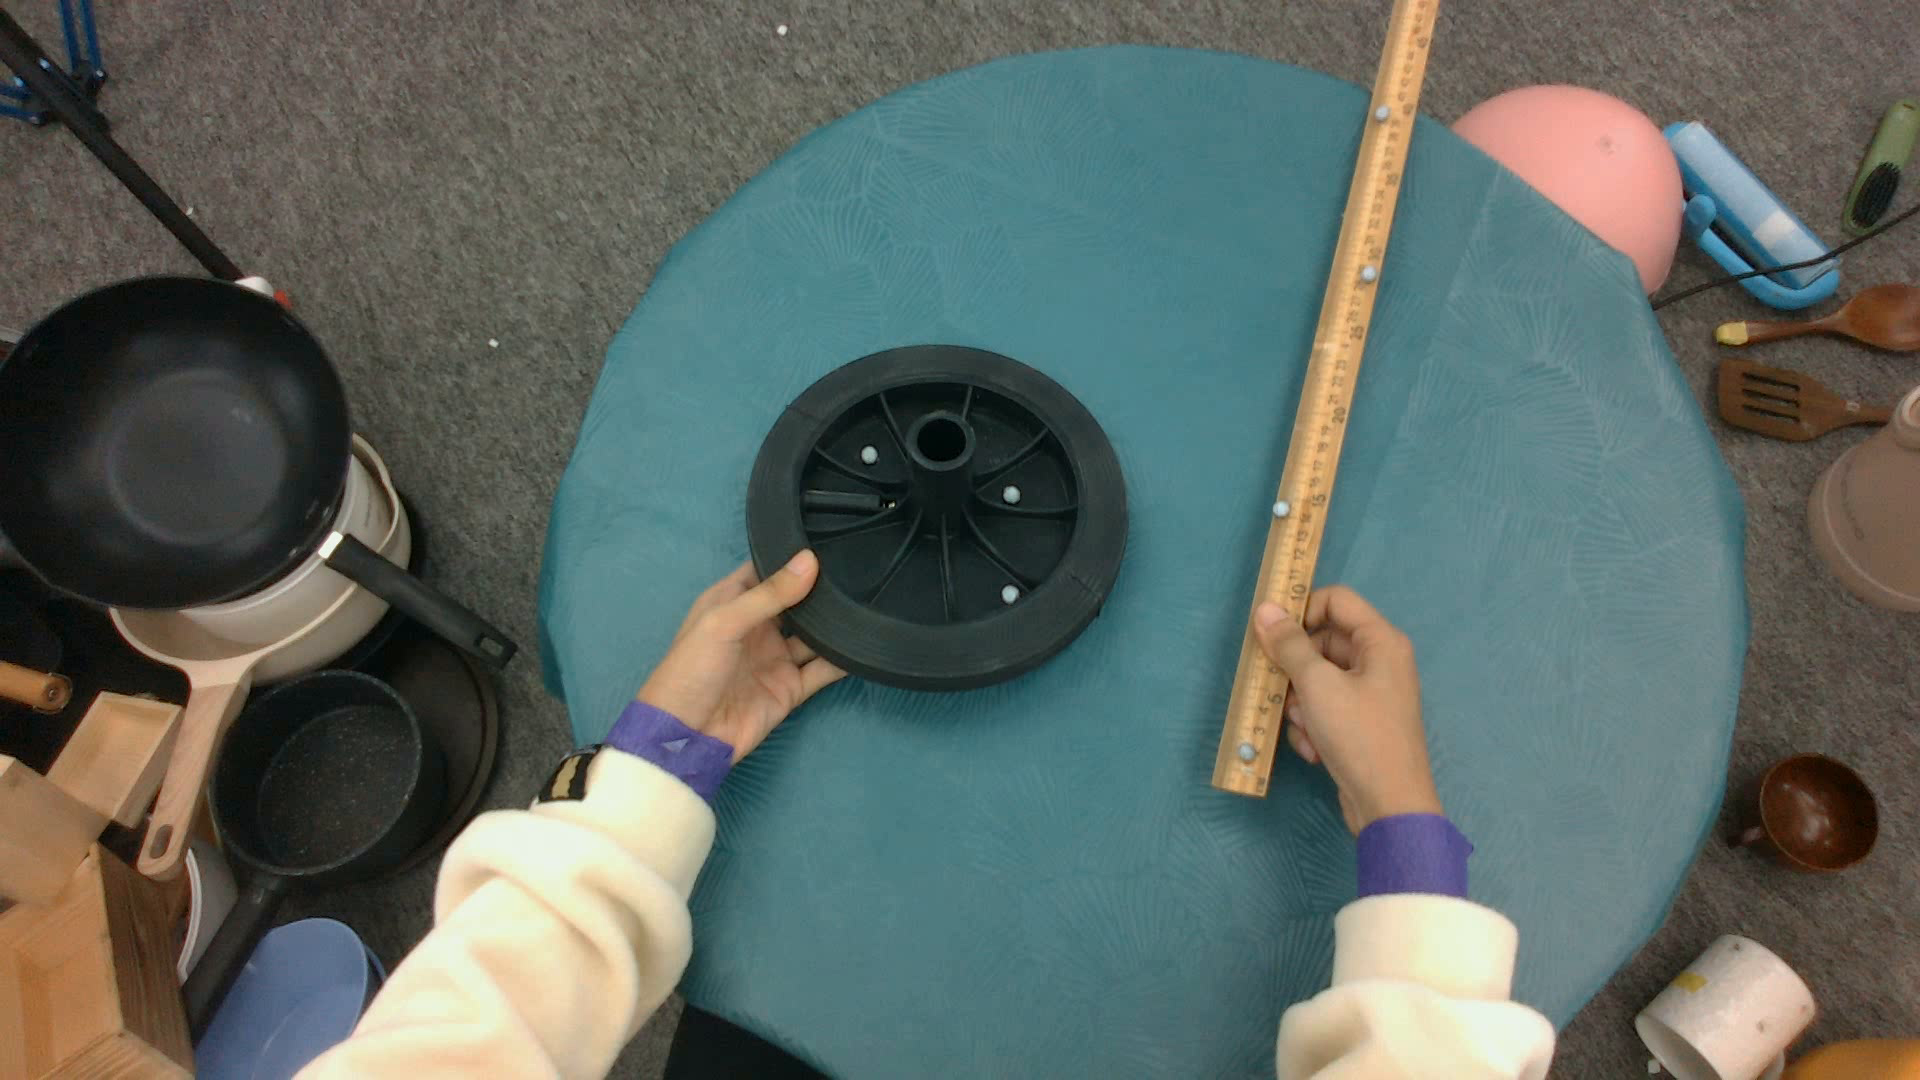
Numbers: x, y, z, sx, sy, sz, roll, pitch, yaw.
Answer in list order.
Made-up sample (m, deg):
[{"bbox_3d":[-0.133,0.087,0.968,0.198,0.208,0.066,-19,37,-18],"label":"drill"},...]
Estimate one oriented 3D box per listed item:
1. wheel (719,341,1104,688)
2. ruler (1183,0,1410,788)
[{"bbox_3d":[-0.022,-0.027,0.660,0.190,0.079,0.188,-16,64,-12],"label":"wheel"},{"bbox_3d":[0.185,-0.108,0.722,0.027,0.006,0.502,8,65,22],"label":"ruler"}]
